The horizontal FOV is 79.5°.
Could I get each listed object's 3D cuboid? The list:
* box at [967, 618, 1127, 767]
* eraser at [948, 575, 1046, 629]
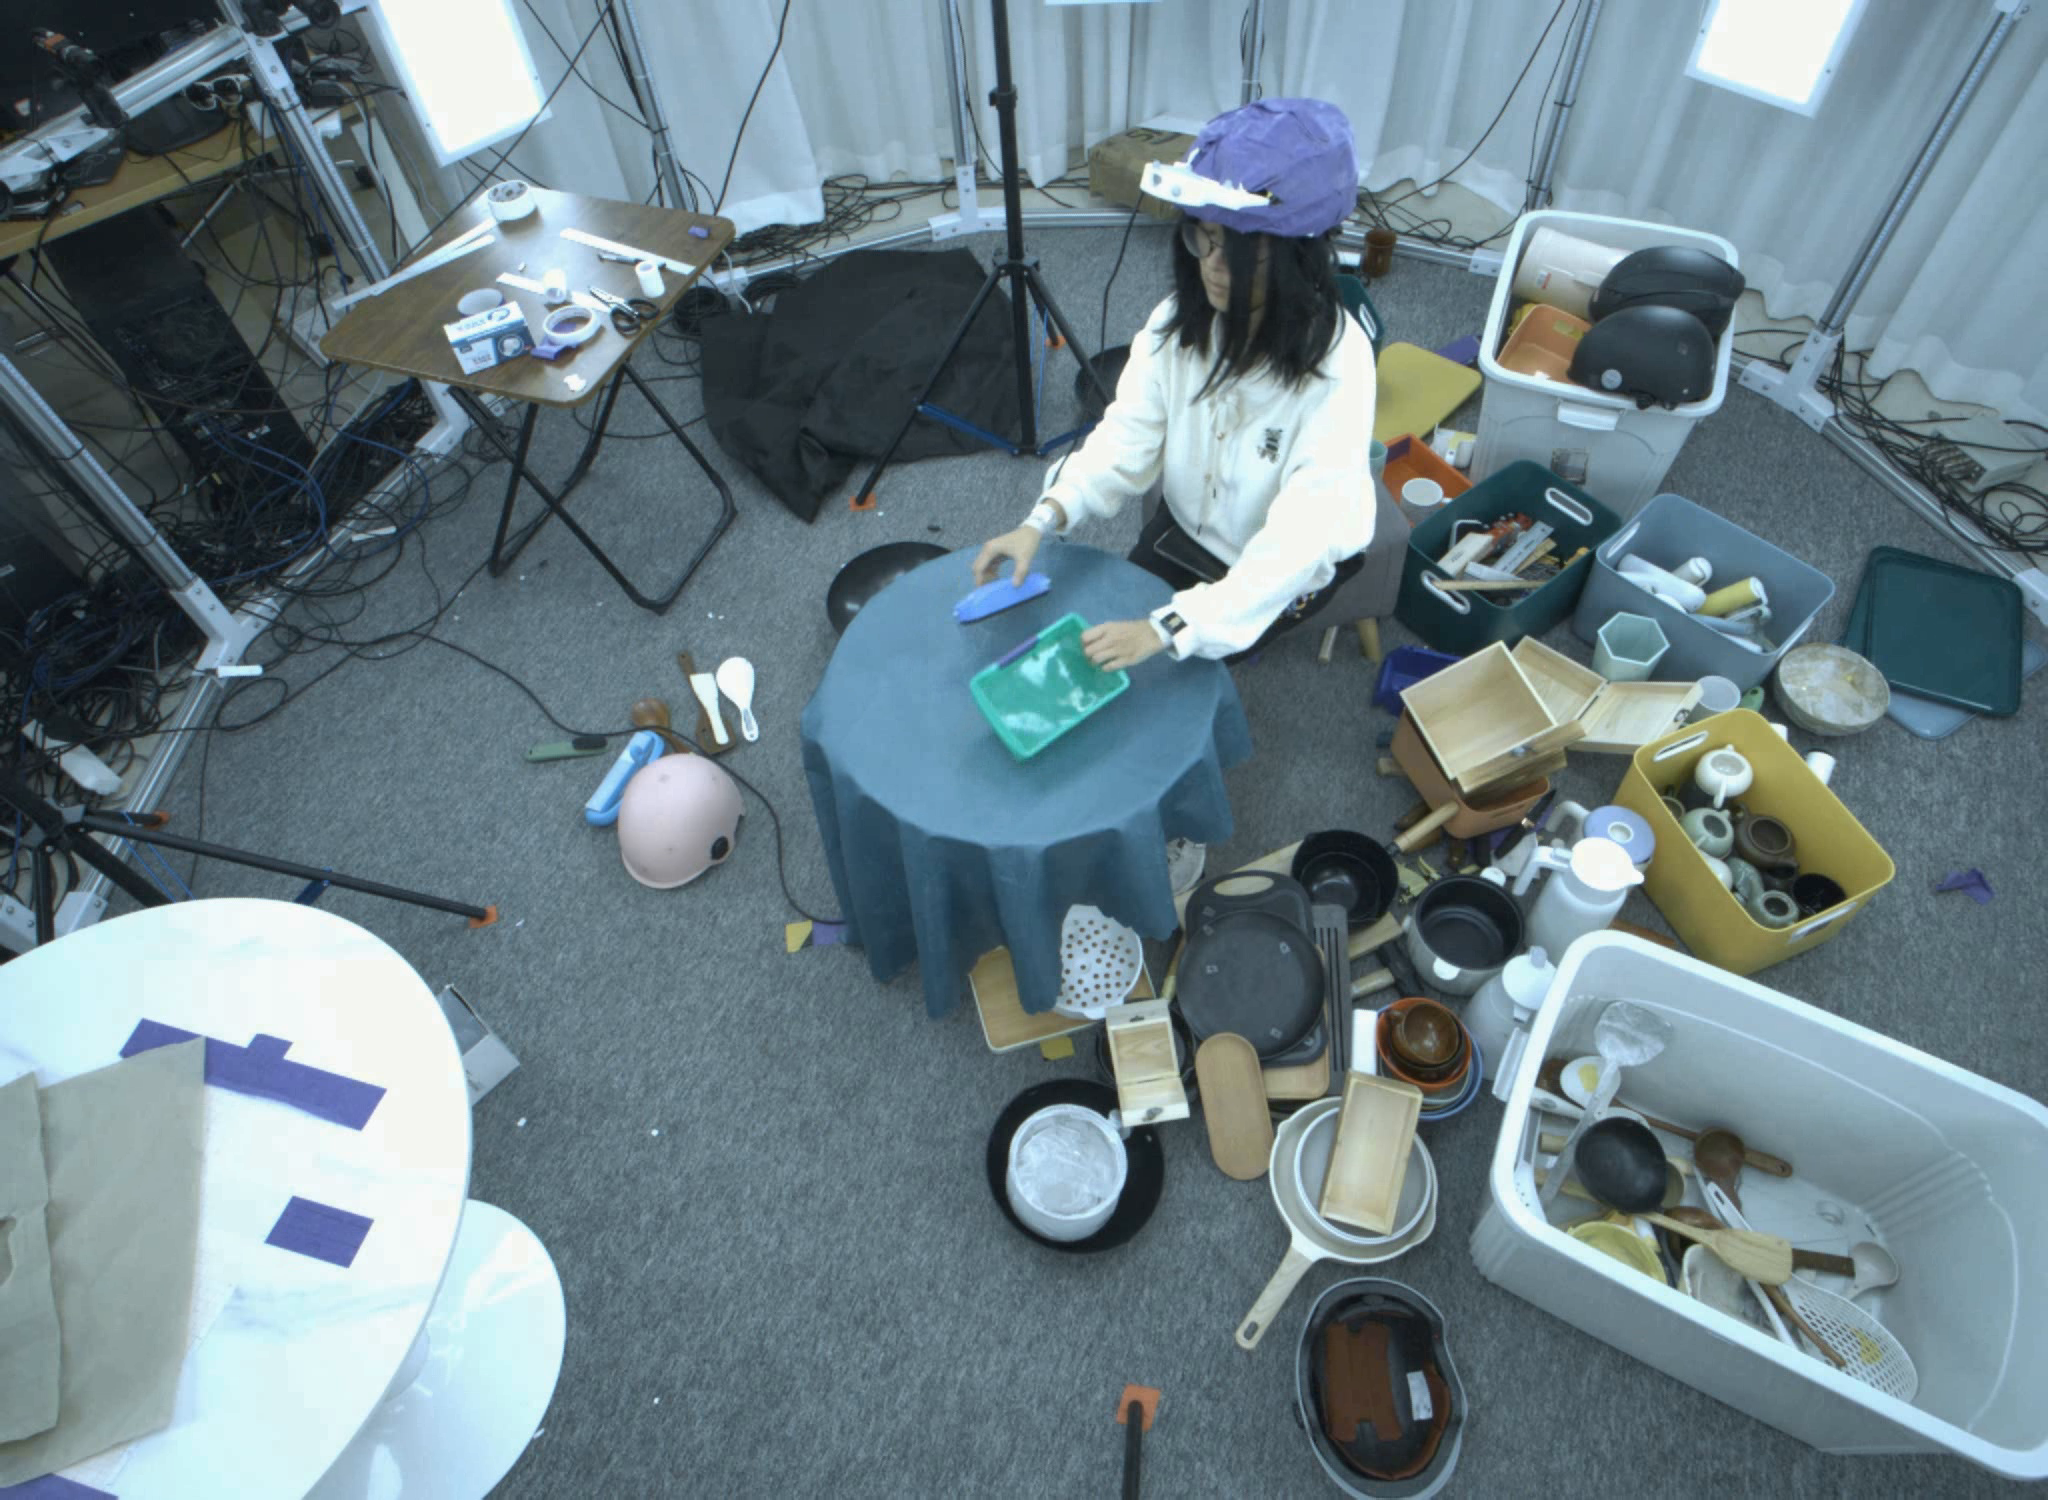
[{"bbox_3d":[0.029,-0.079,1.767,0.212,0.065,0.138,-37,84,-19],"label":"box"},{"bbox_3d":[-0.043,-0.230,1.861,0.164,0.048,0.052,-29,20,-36],"label":"eraser"}]
